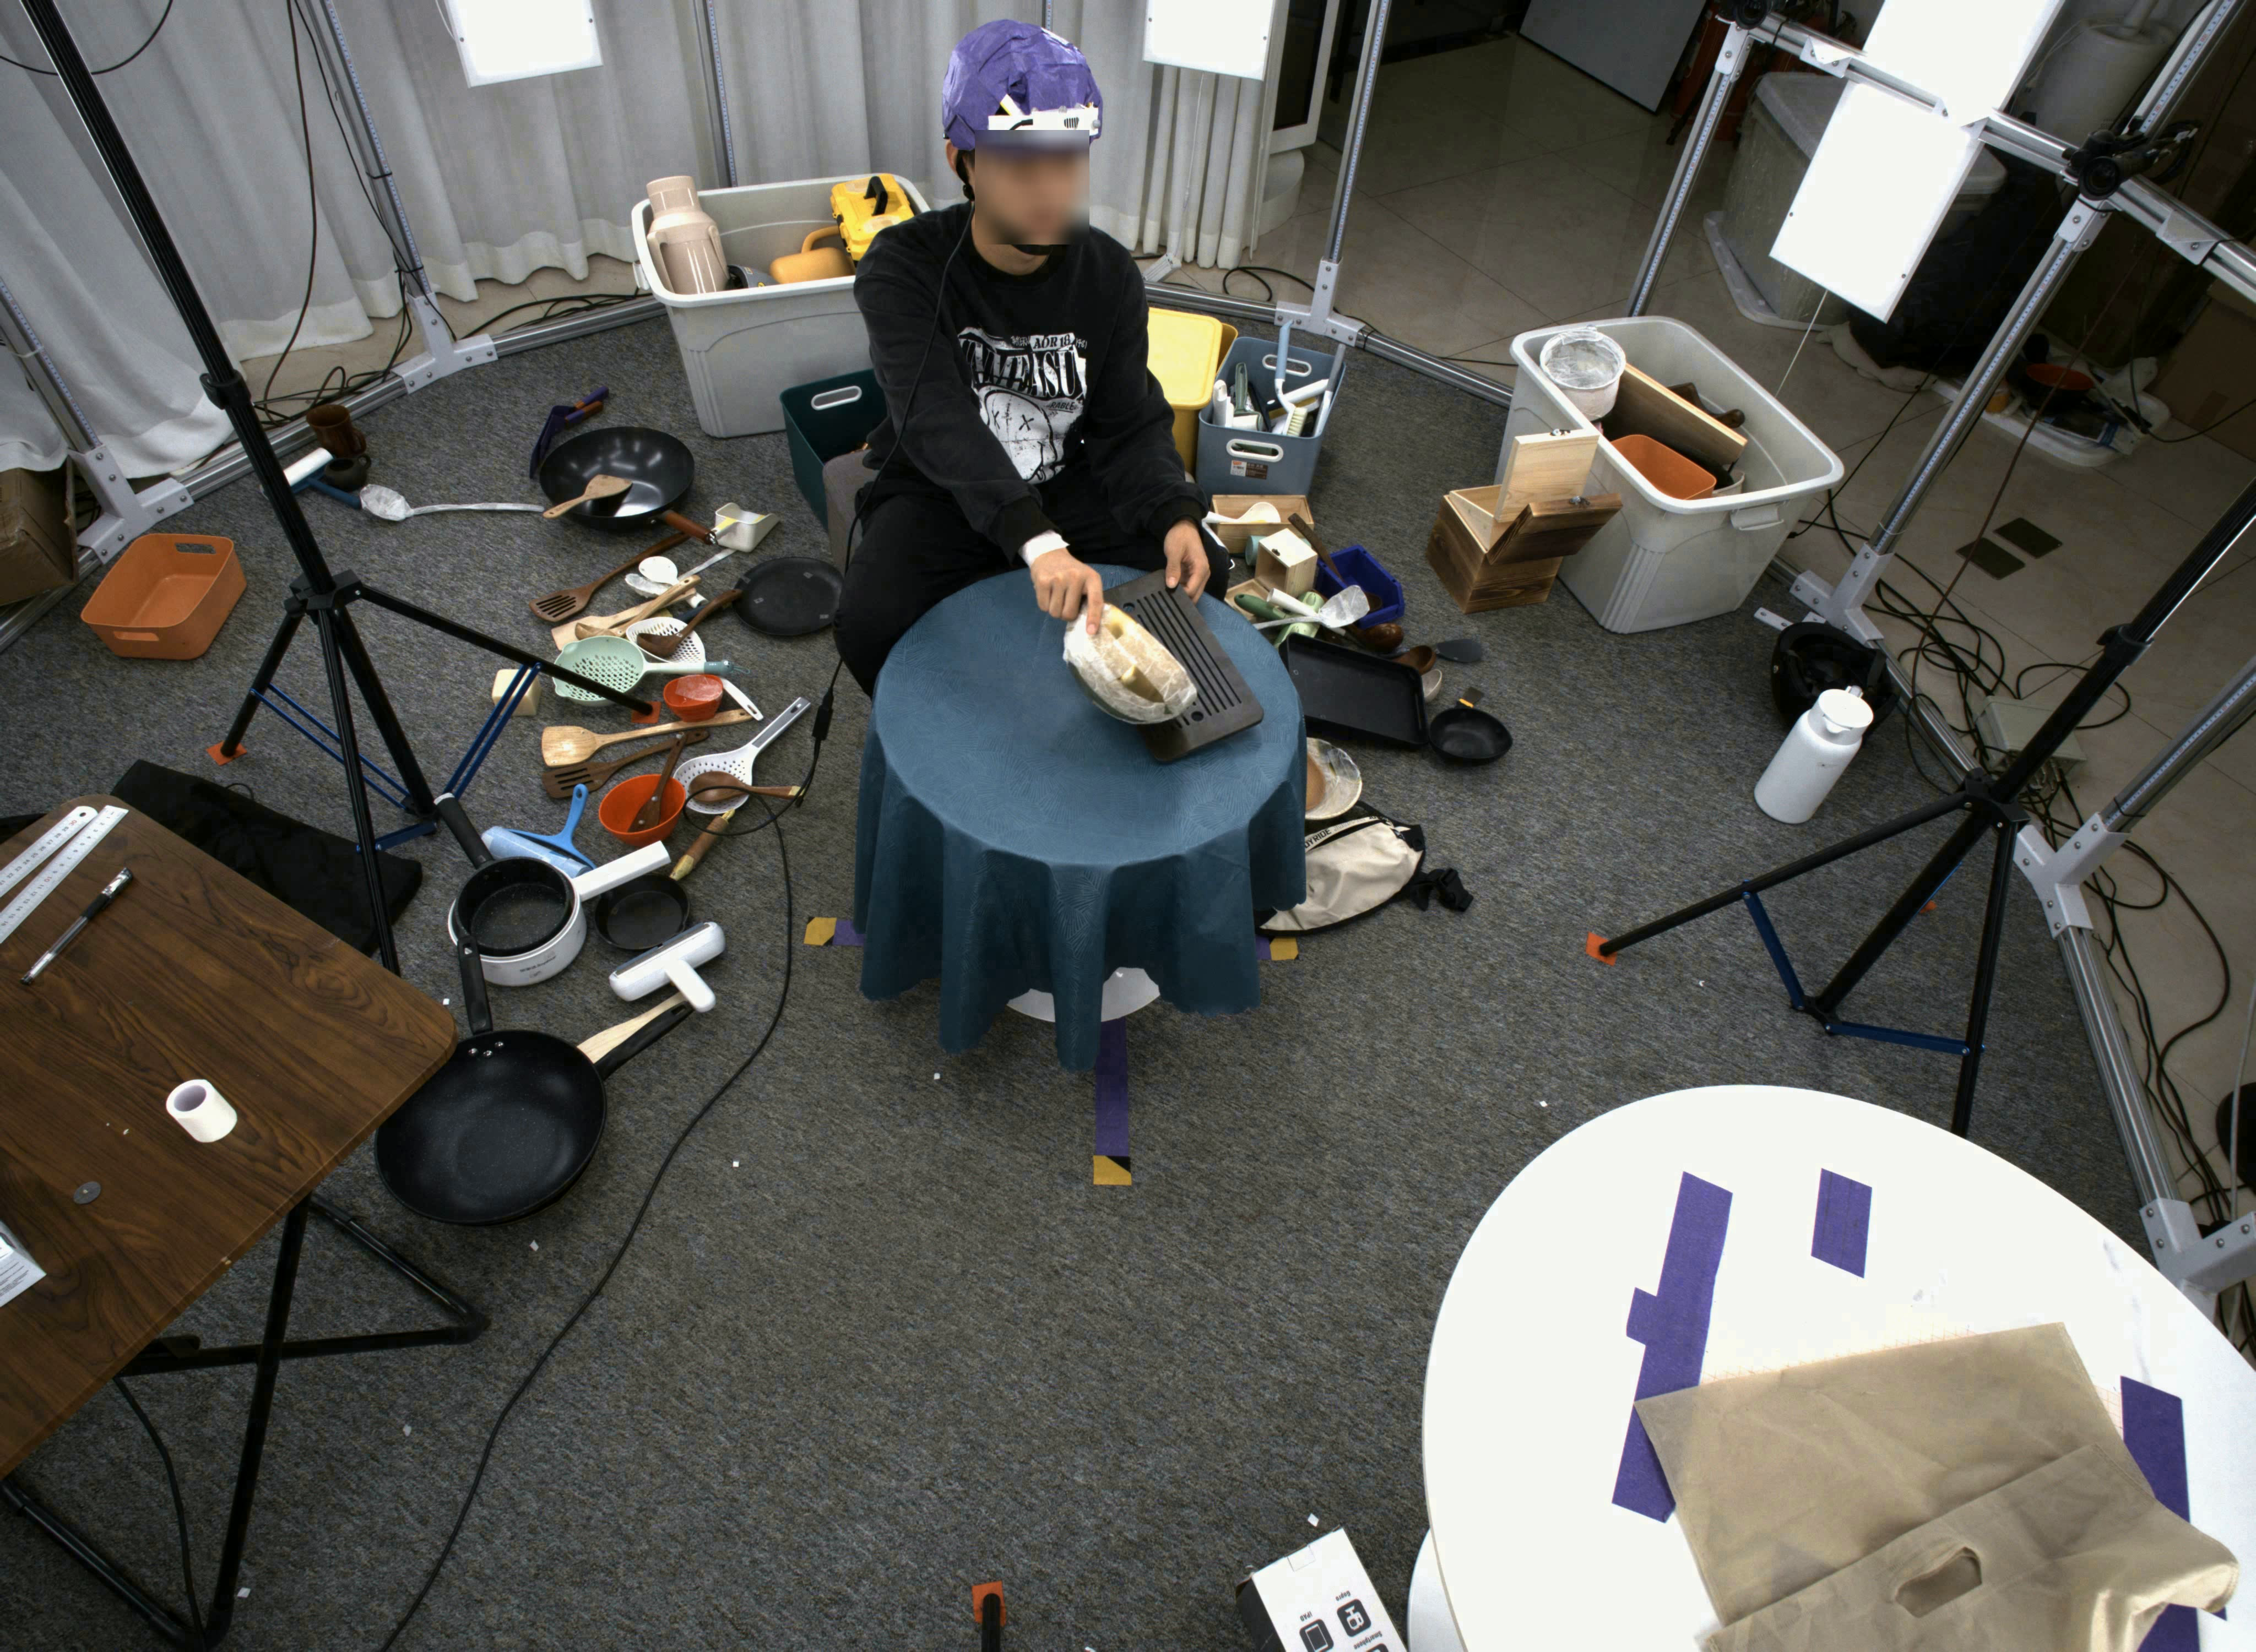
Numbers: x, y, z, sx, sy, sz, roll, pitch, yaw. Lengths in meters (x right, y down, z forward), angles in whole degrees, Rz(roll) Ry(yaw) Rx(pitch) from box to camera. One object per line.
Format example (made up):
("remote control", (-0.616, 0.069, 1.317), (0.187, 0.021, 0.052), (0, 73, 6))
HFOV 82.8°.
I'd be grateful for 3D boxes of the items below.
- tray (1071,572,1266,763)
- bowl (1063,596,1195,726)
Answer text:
("tray", (0.055, -0.231, 1.844), (0.170, 0.018, 0.312), (-23, 60, -12))
("bowl", (-0.016, -0.201, 1.714), (0.218, 0.211, 0.095), (38, 83, 25))
